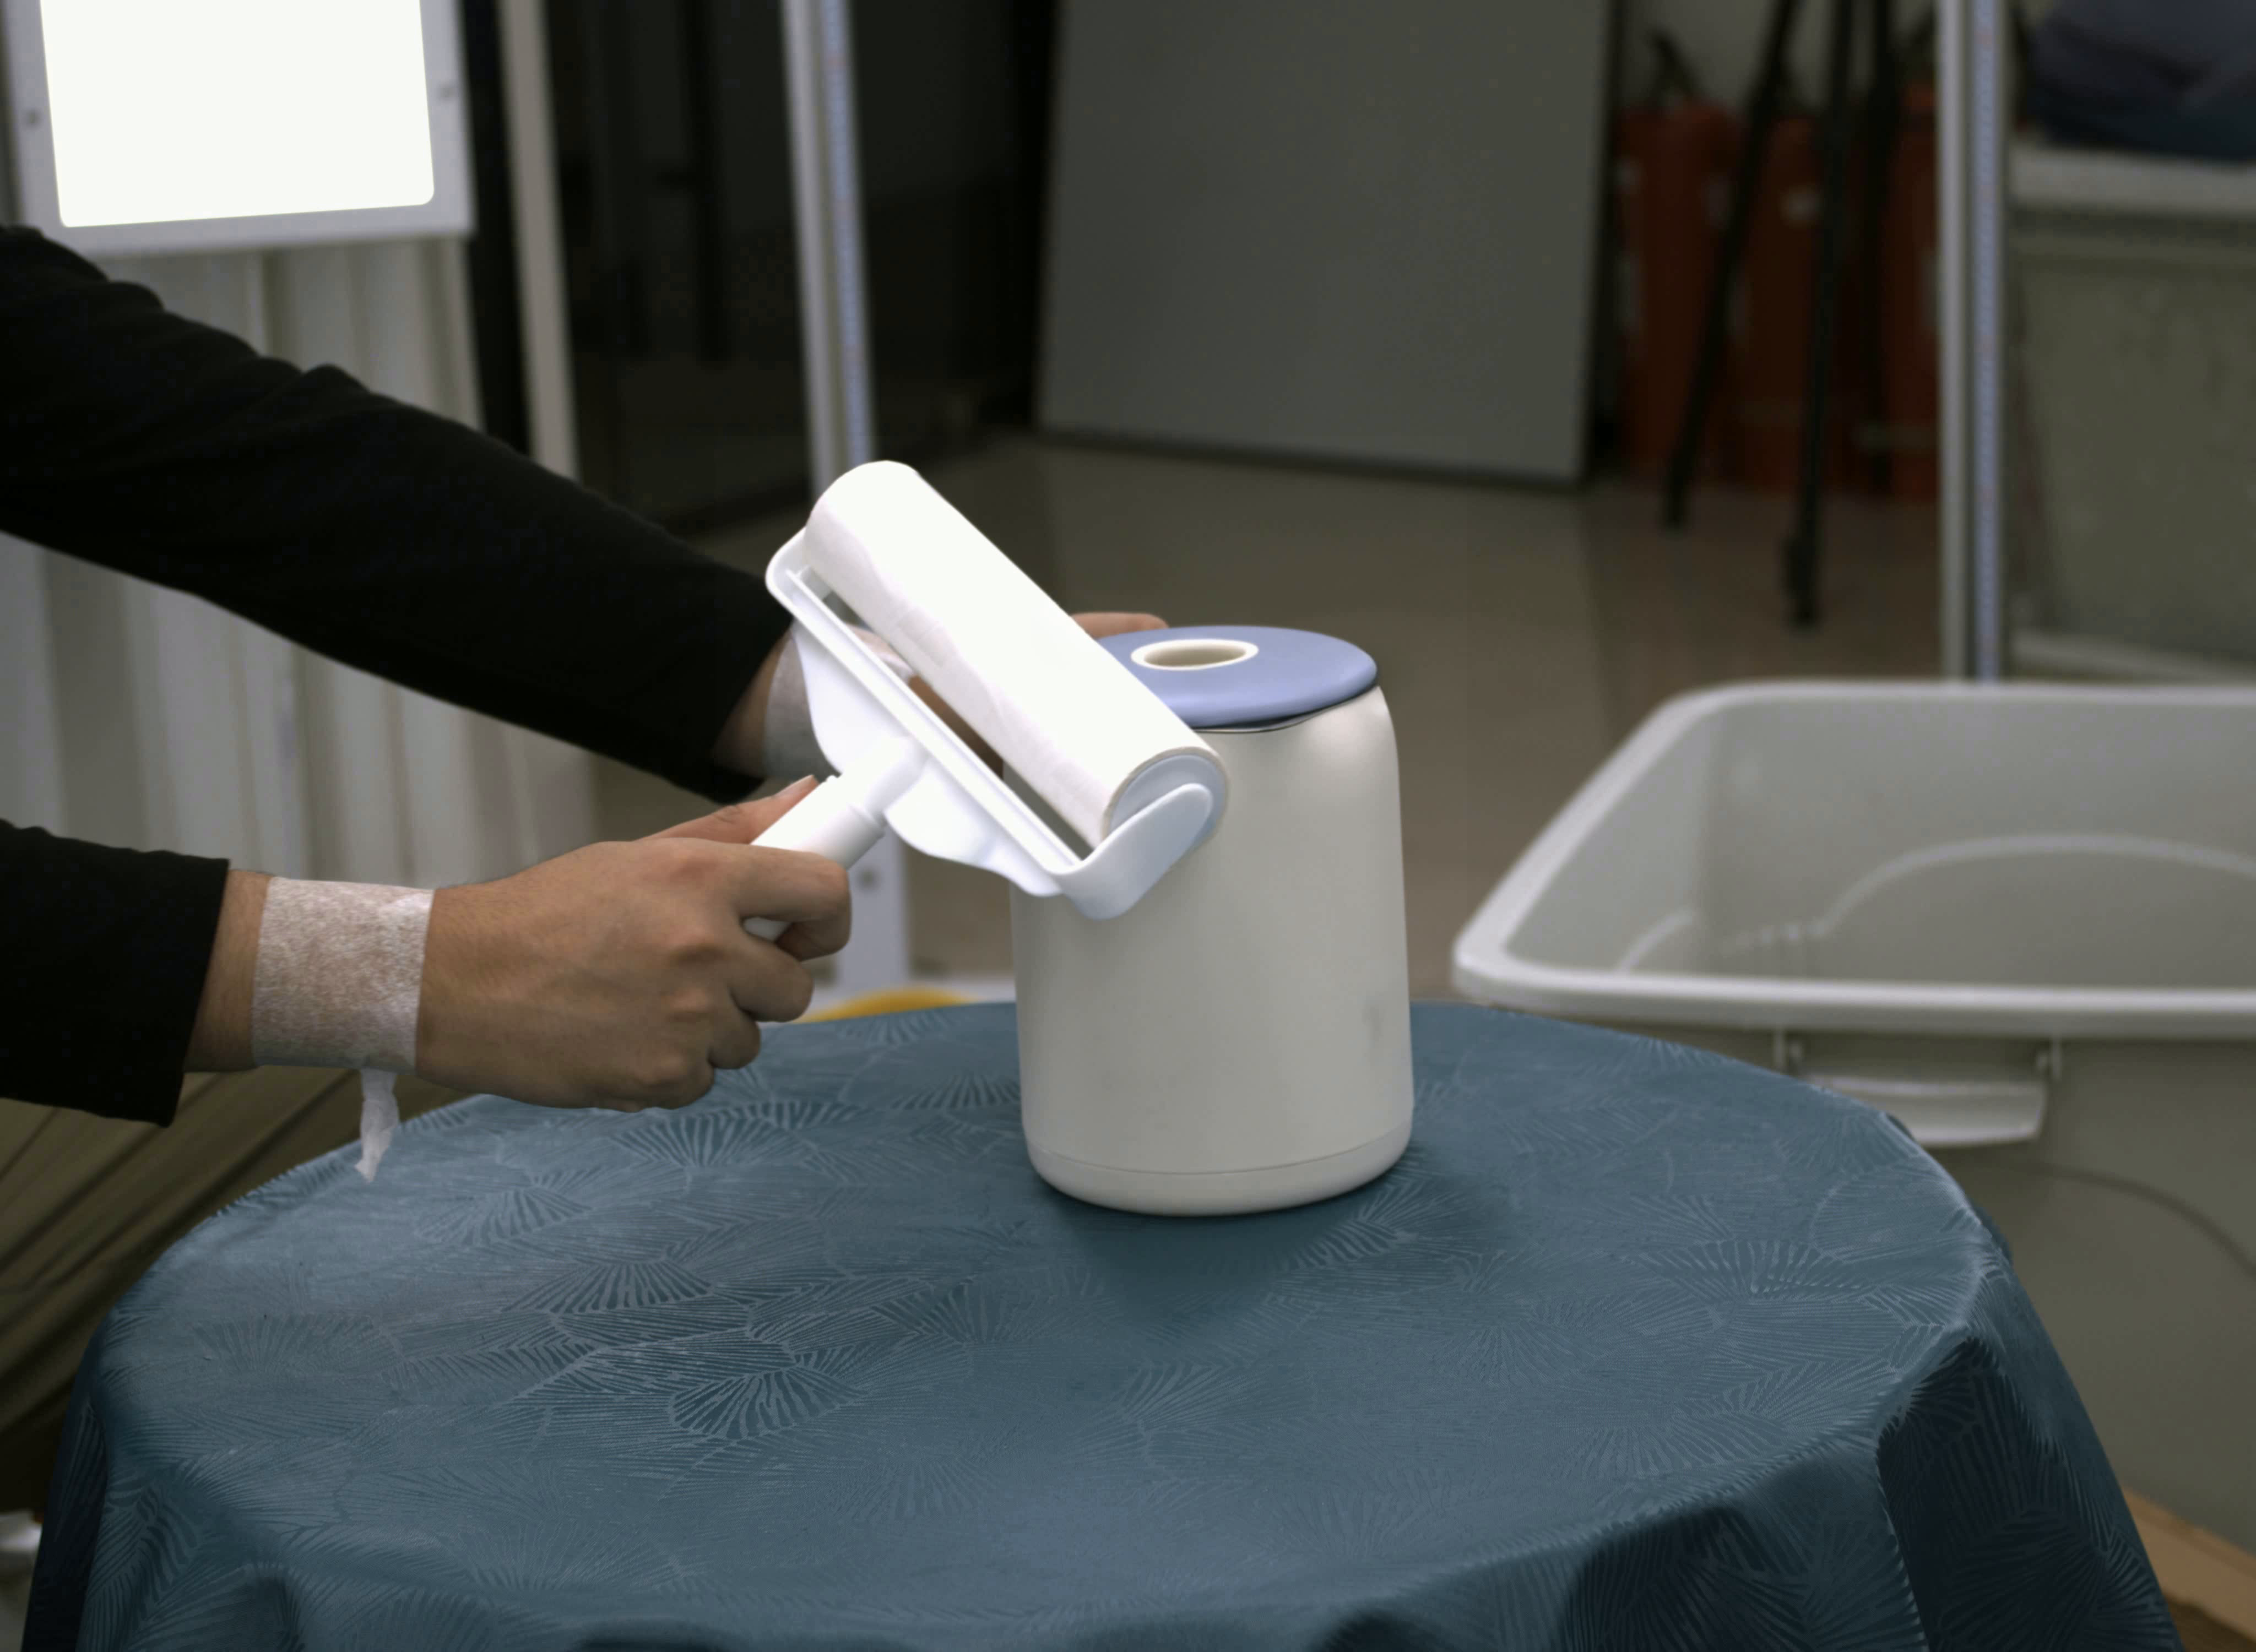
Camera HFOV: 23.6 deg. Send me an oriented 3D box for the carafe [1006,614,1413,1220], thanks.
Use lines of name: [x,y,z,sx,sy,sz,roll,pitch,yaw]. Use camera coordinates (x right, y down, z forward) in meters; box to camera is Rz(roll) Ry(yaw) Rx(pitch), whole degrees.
carafe: [0.017,0.024,1.796,0.129,0.184,0.193,-8,12,-19]

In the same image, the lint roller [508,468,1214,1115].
lint roller: [-0.107,0.006,1.675,0.224,0.048,0.205,-40,44,-6]
